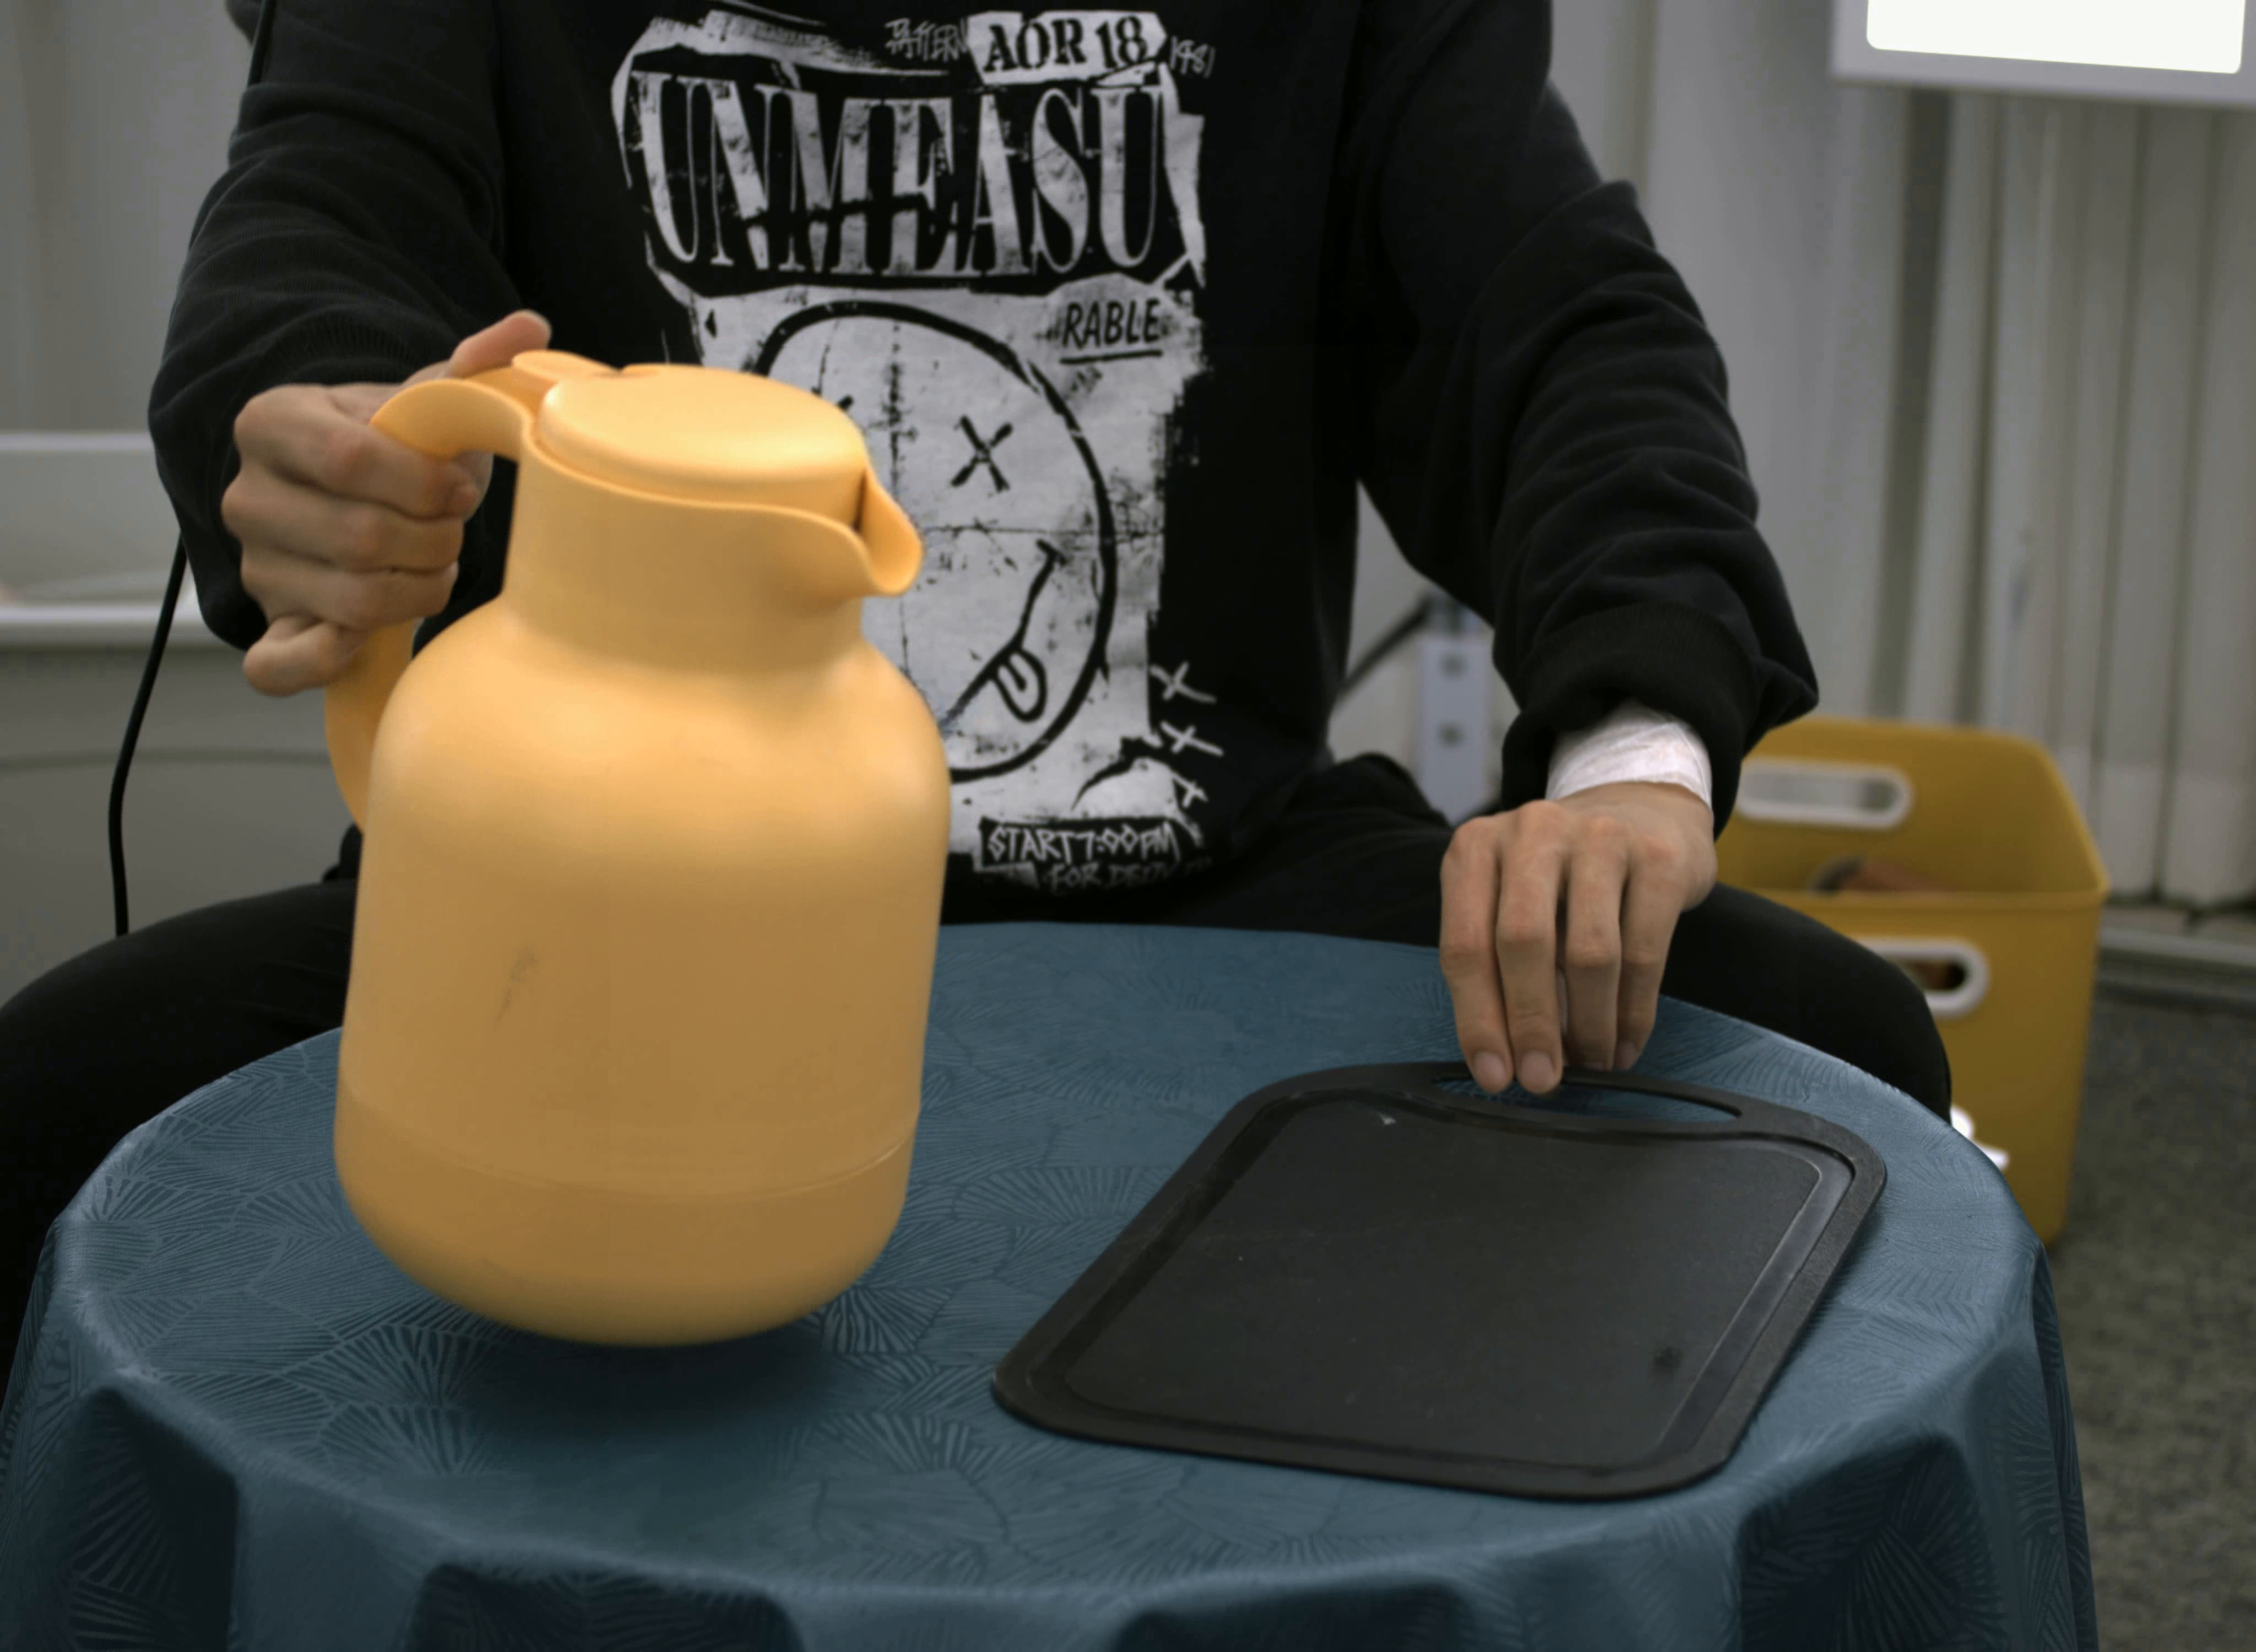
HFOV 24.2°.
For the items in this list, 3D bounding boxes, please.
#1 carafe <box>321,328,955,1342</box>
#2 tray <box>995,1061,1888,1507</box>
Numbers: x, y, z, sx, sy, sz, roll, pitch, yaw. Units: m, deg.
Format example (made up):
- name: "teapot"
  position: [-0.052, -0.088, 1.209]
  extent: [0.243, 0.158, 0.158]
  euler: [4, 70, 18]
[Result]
- name: "carafe"
  position: [-0.143, -0.006, 1.454]
  extent: [0.200, 0.262, 0.164]
  euler: [25, 24, 32]
- name: "tray"
  position: [0.100, 0.124, 1.551]
  extent: [0.209, 0.010, 0.325]
  euler: [6, 19, 18]
